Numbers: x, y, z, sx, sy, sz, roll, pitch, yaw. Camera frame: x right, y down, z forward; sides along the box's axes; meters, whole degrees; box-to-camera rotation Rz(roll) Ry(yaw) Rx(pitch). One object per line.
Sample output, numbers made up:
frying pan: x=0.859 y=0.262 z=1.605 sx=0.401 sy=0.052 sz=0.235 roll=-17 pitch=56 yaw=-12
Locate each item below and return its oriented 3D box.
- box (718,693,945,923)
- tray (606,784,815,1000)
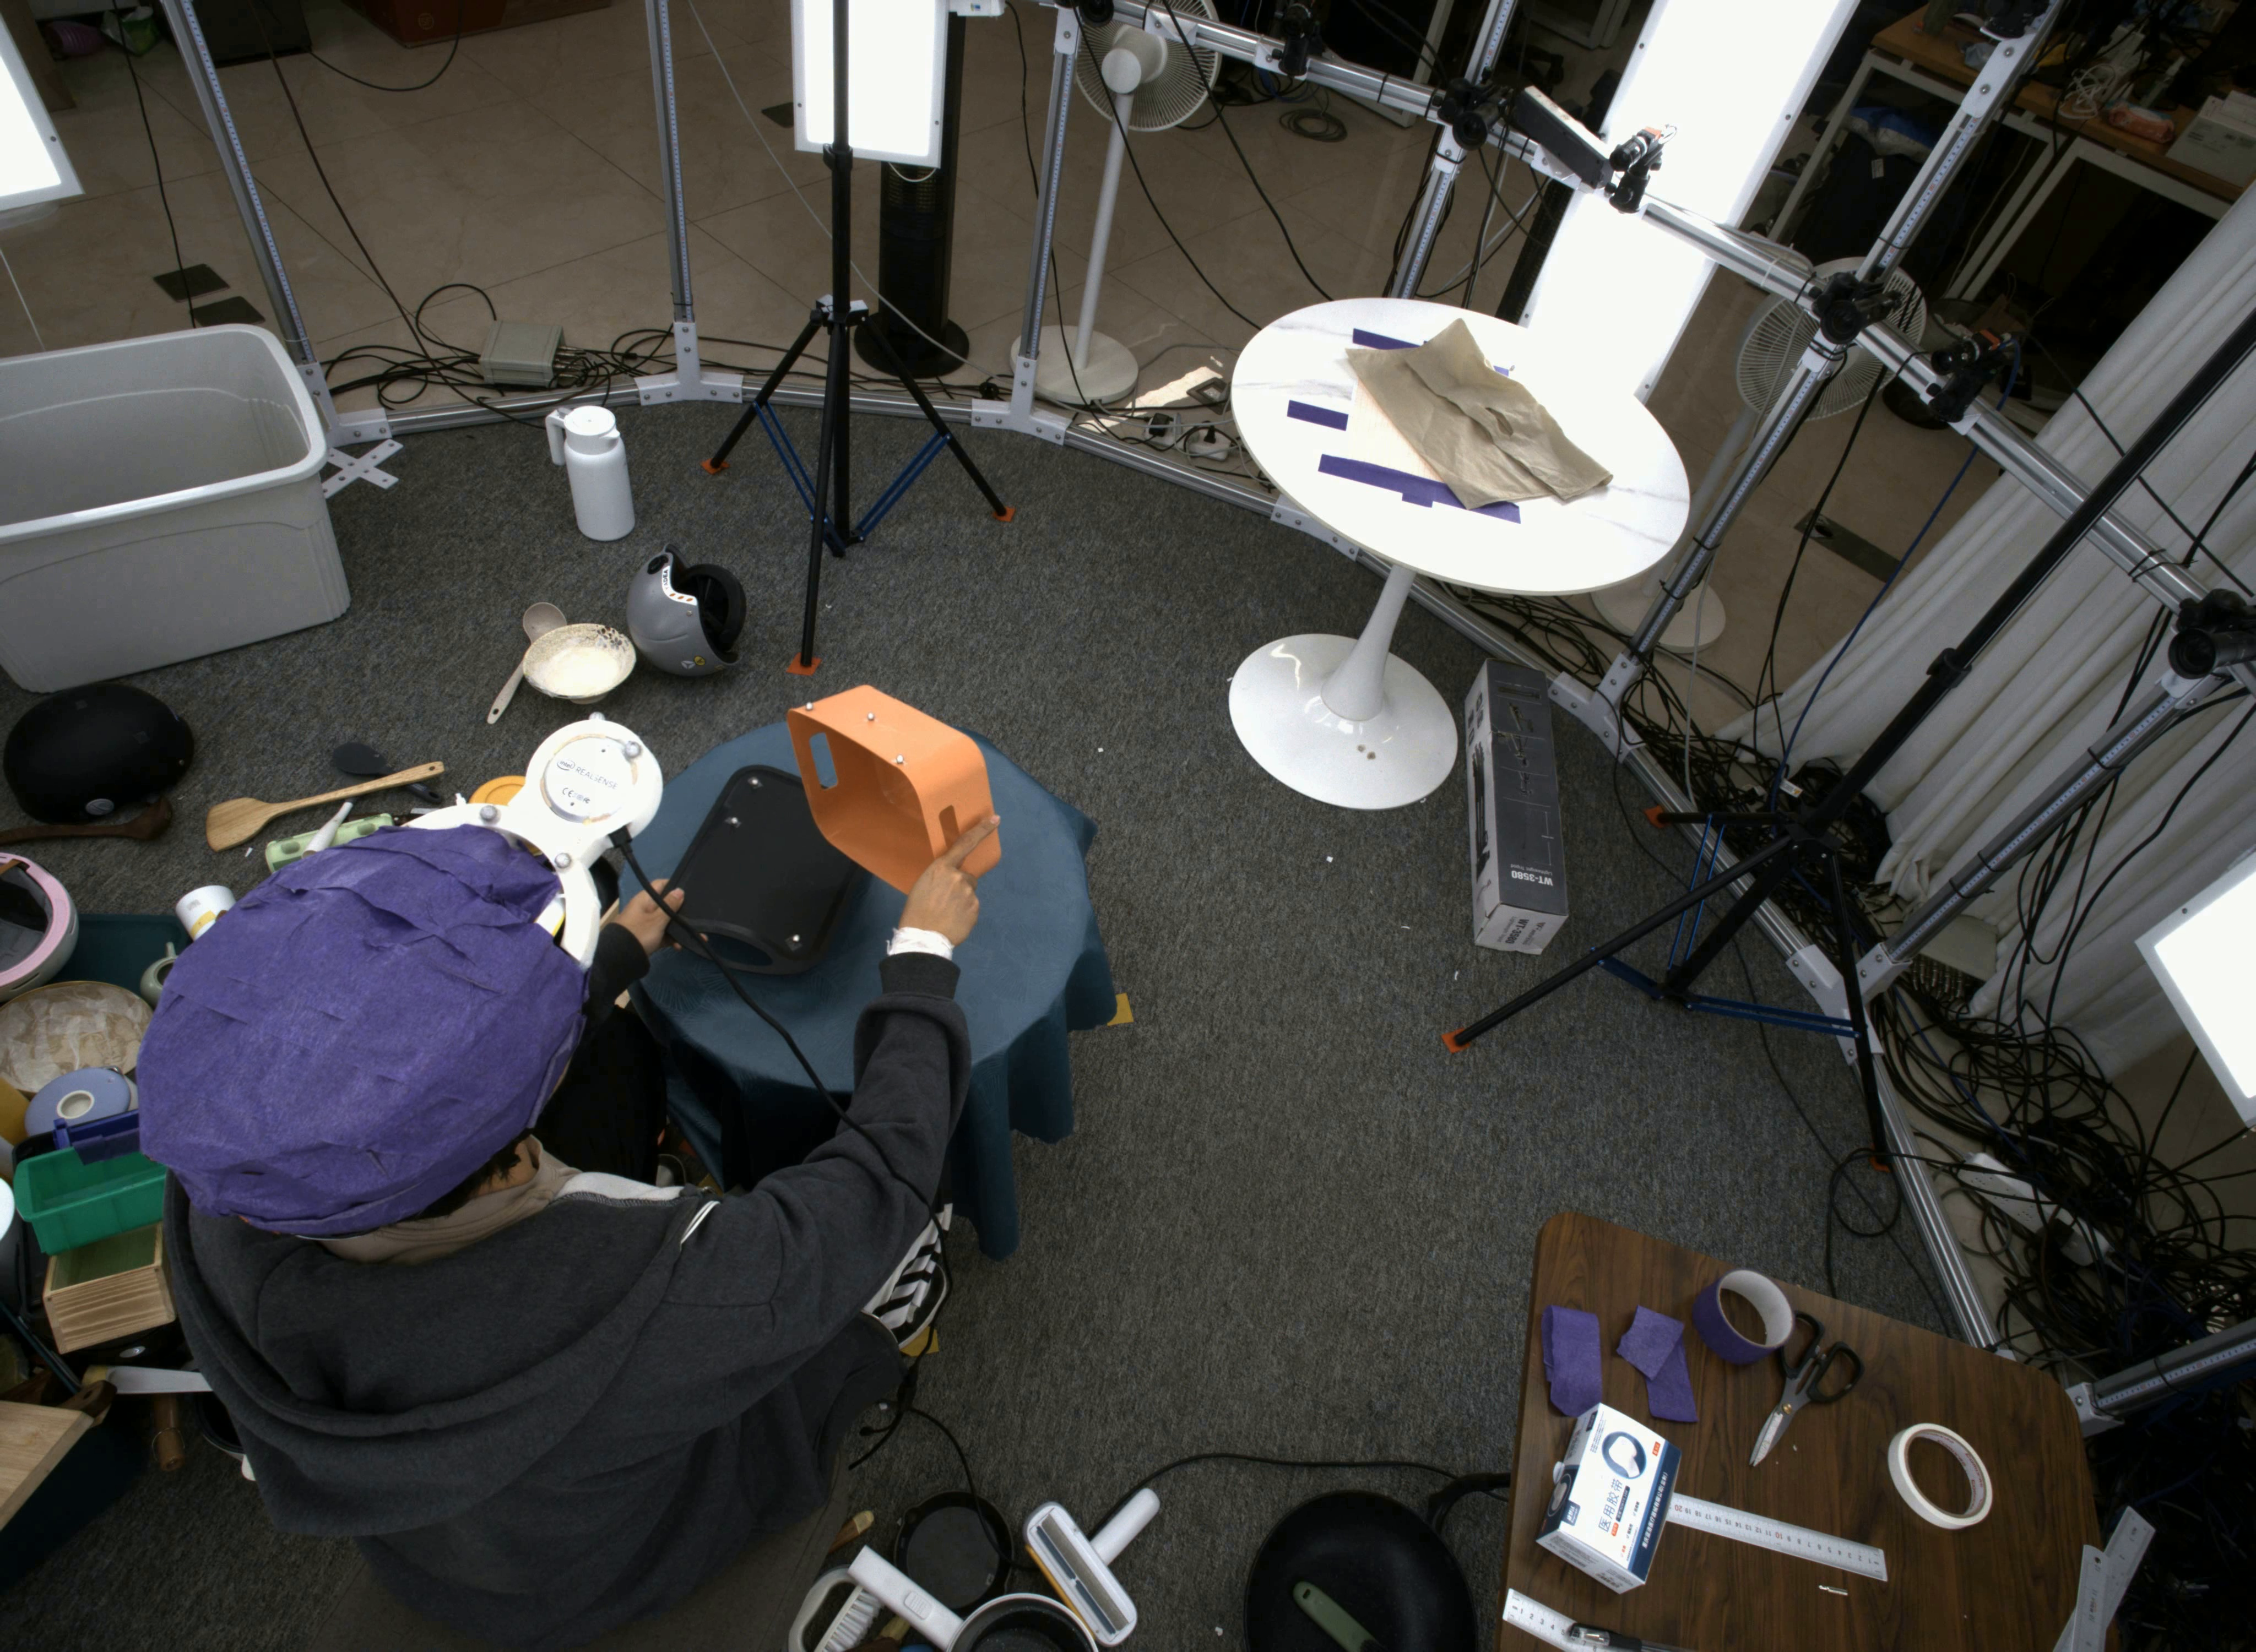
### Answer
box: x=-0.328 y=-0.029 z=1.457 sx=0.263 sy=0.207 sz=0.103 roll=23 pitch=46 yaw=37
tray: x=-0.499 y=0.075 z=1.574 sx=0.211 sy=0.010 sz=0.319 roll=18 pitch=44 yaw=-10
